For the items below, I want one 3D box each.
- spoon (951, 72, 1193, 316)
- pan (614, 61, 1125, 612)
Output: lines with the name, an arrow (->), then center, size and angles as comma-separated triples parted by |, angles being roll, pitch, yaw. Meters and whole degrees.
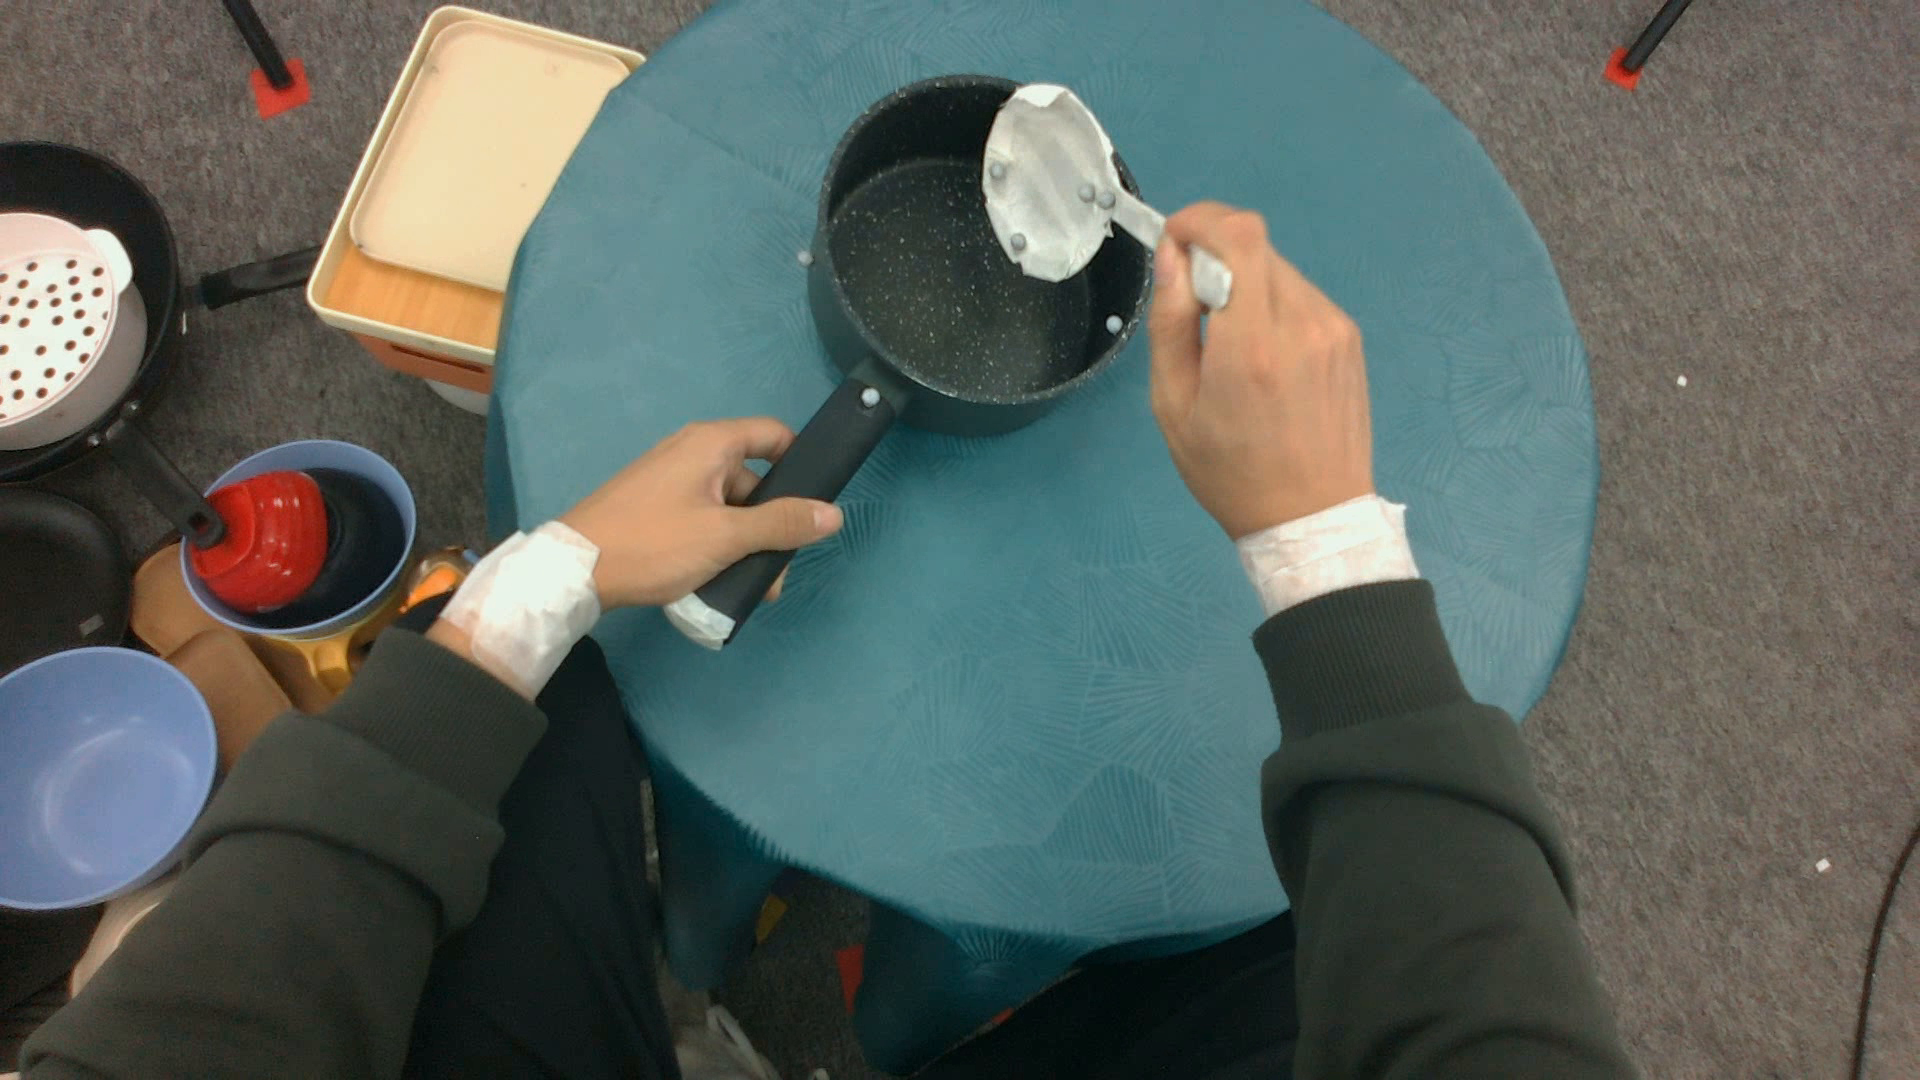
spoon -> 0.039, -0.138, 0.600 | 0.059, 0.100, 0.278 | -5, 27, -4
pan -> -0.052, -0.090, 0.680 | 0.172, 0.086, 0.330 | 38, 69, -3
